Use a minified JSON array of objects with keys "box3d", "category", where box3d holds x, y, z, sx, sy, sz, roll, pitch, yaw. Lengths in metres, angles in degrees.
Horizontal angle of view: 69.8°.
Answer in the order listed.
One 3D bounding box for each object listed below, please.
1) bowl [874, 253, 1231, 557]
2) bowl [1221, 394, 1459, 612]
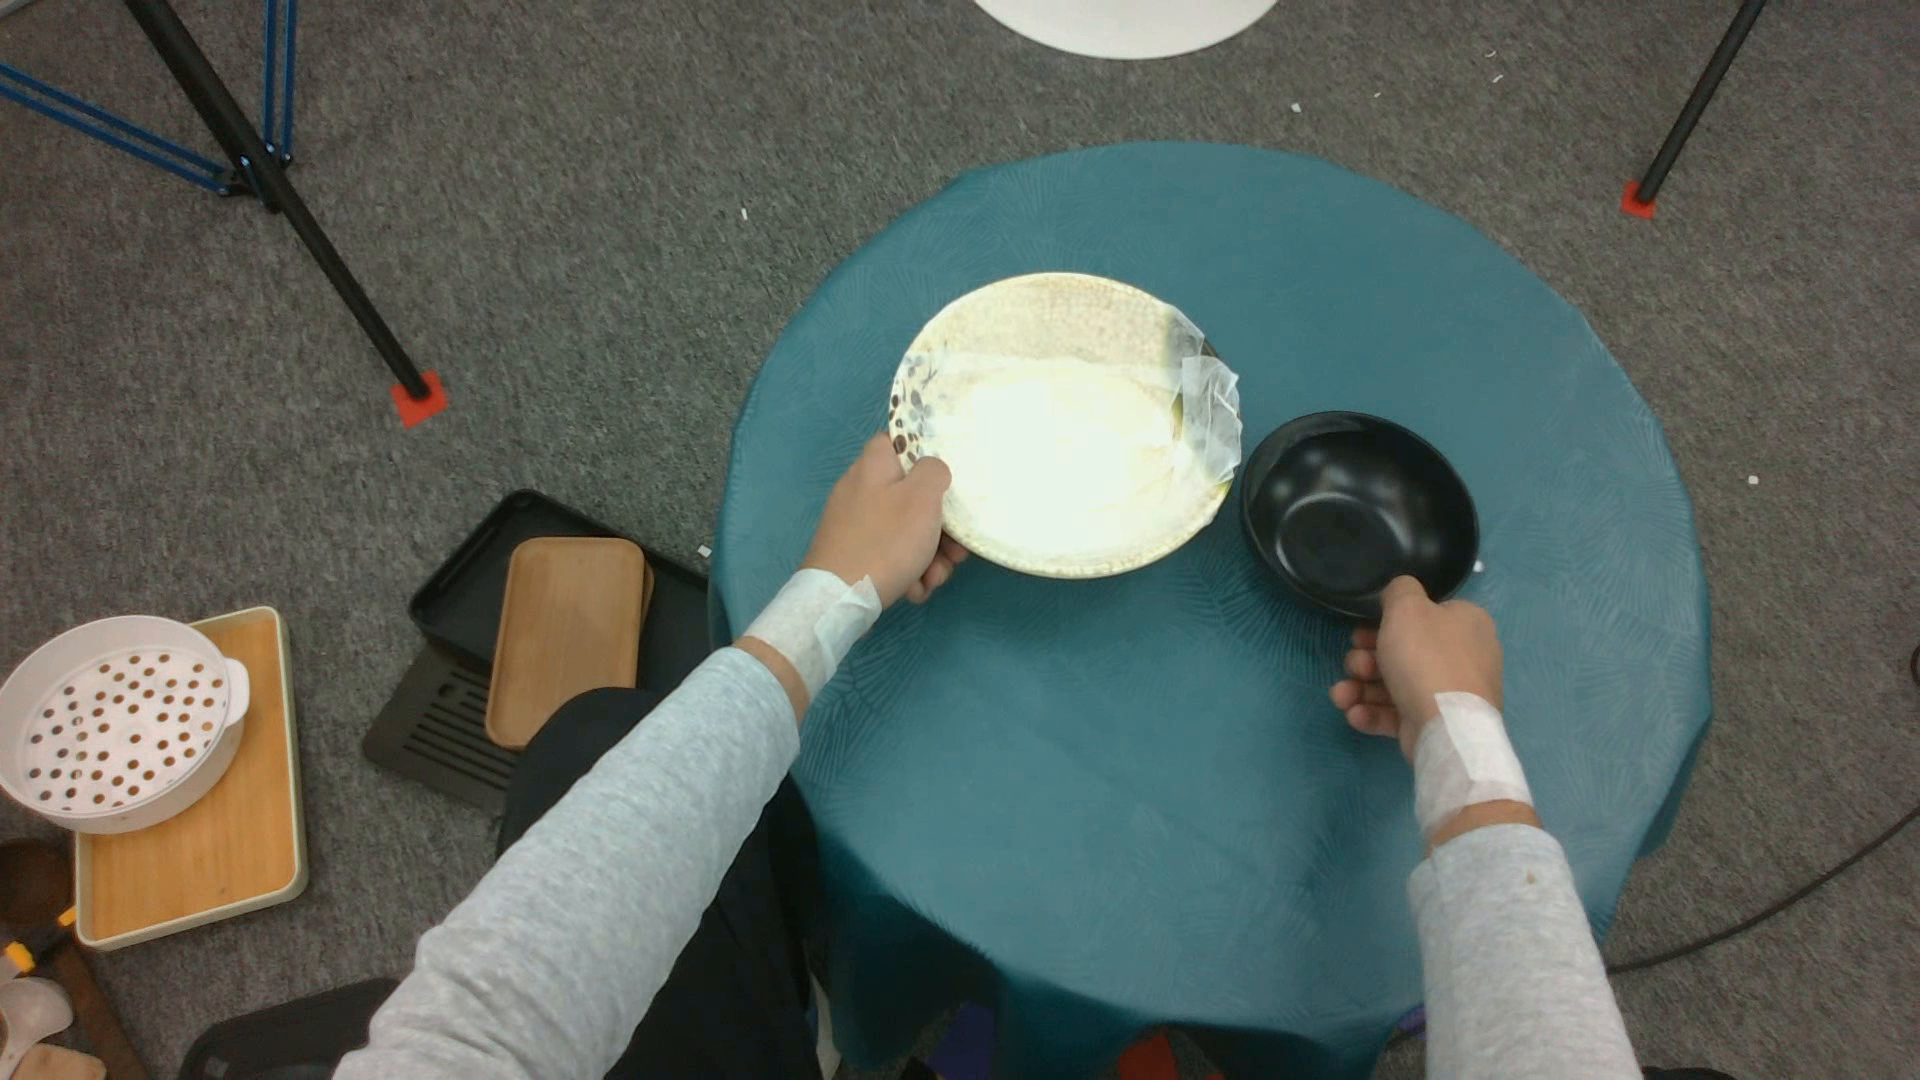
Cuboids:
[{"box3d":[0.052,-0.067,0.818,0.204,0.077,0.205,1,64,-1],"category":"bowl"},{"box3d":[0.219,-0.015,0.816,0.140,0.049,0.140,1,64,-3],"category":"bowl"}]
